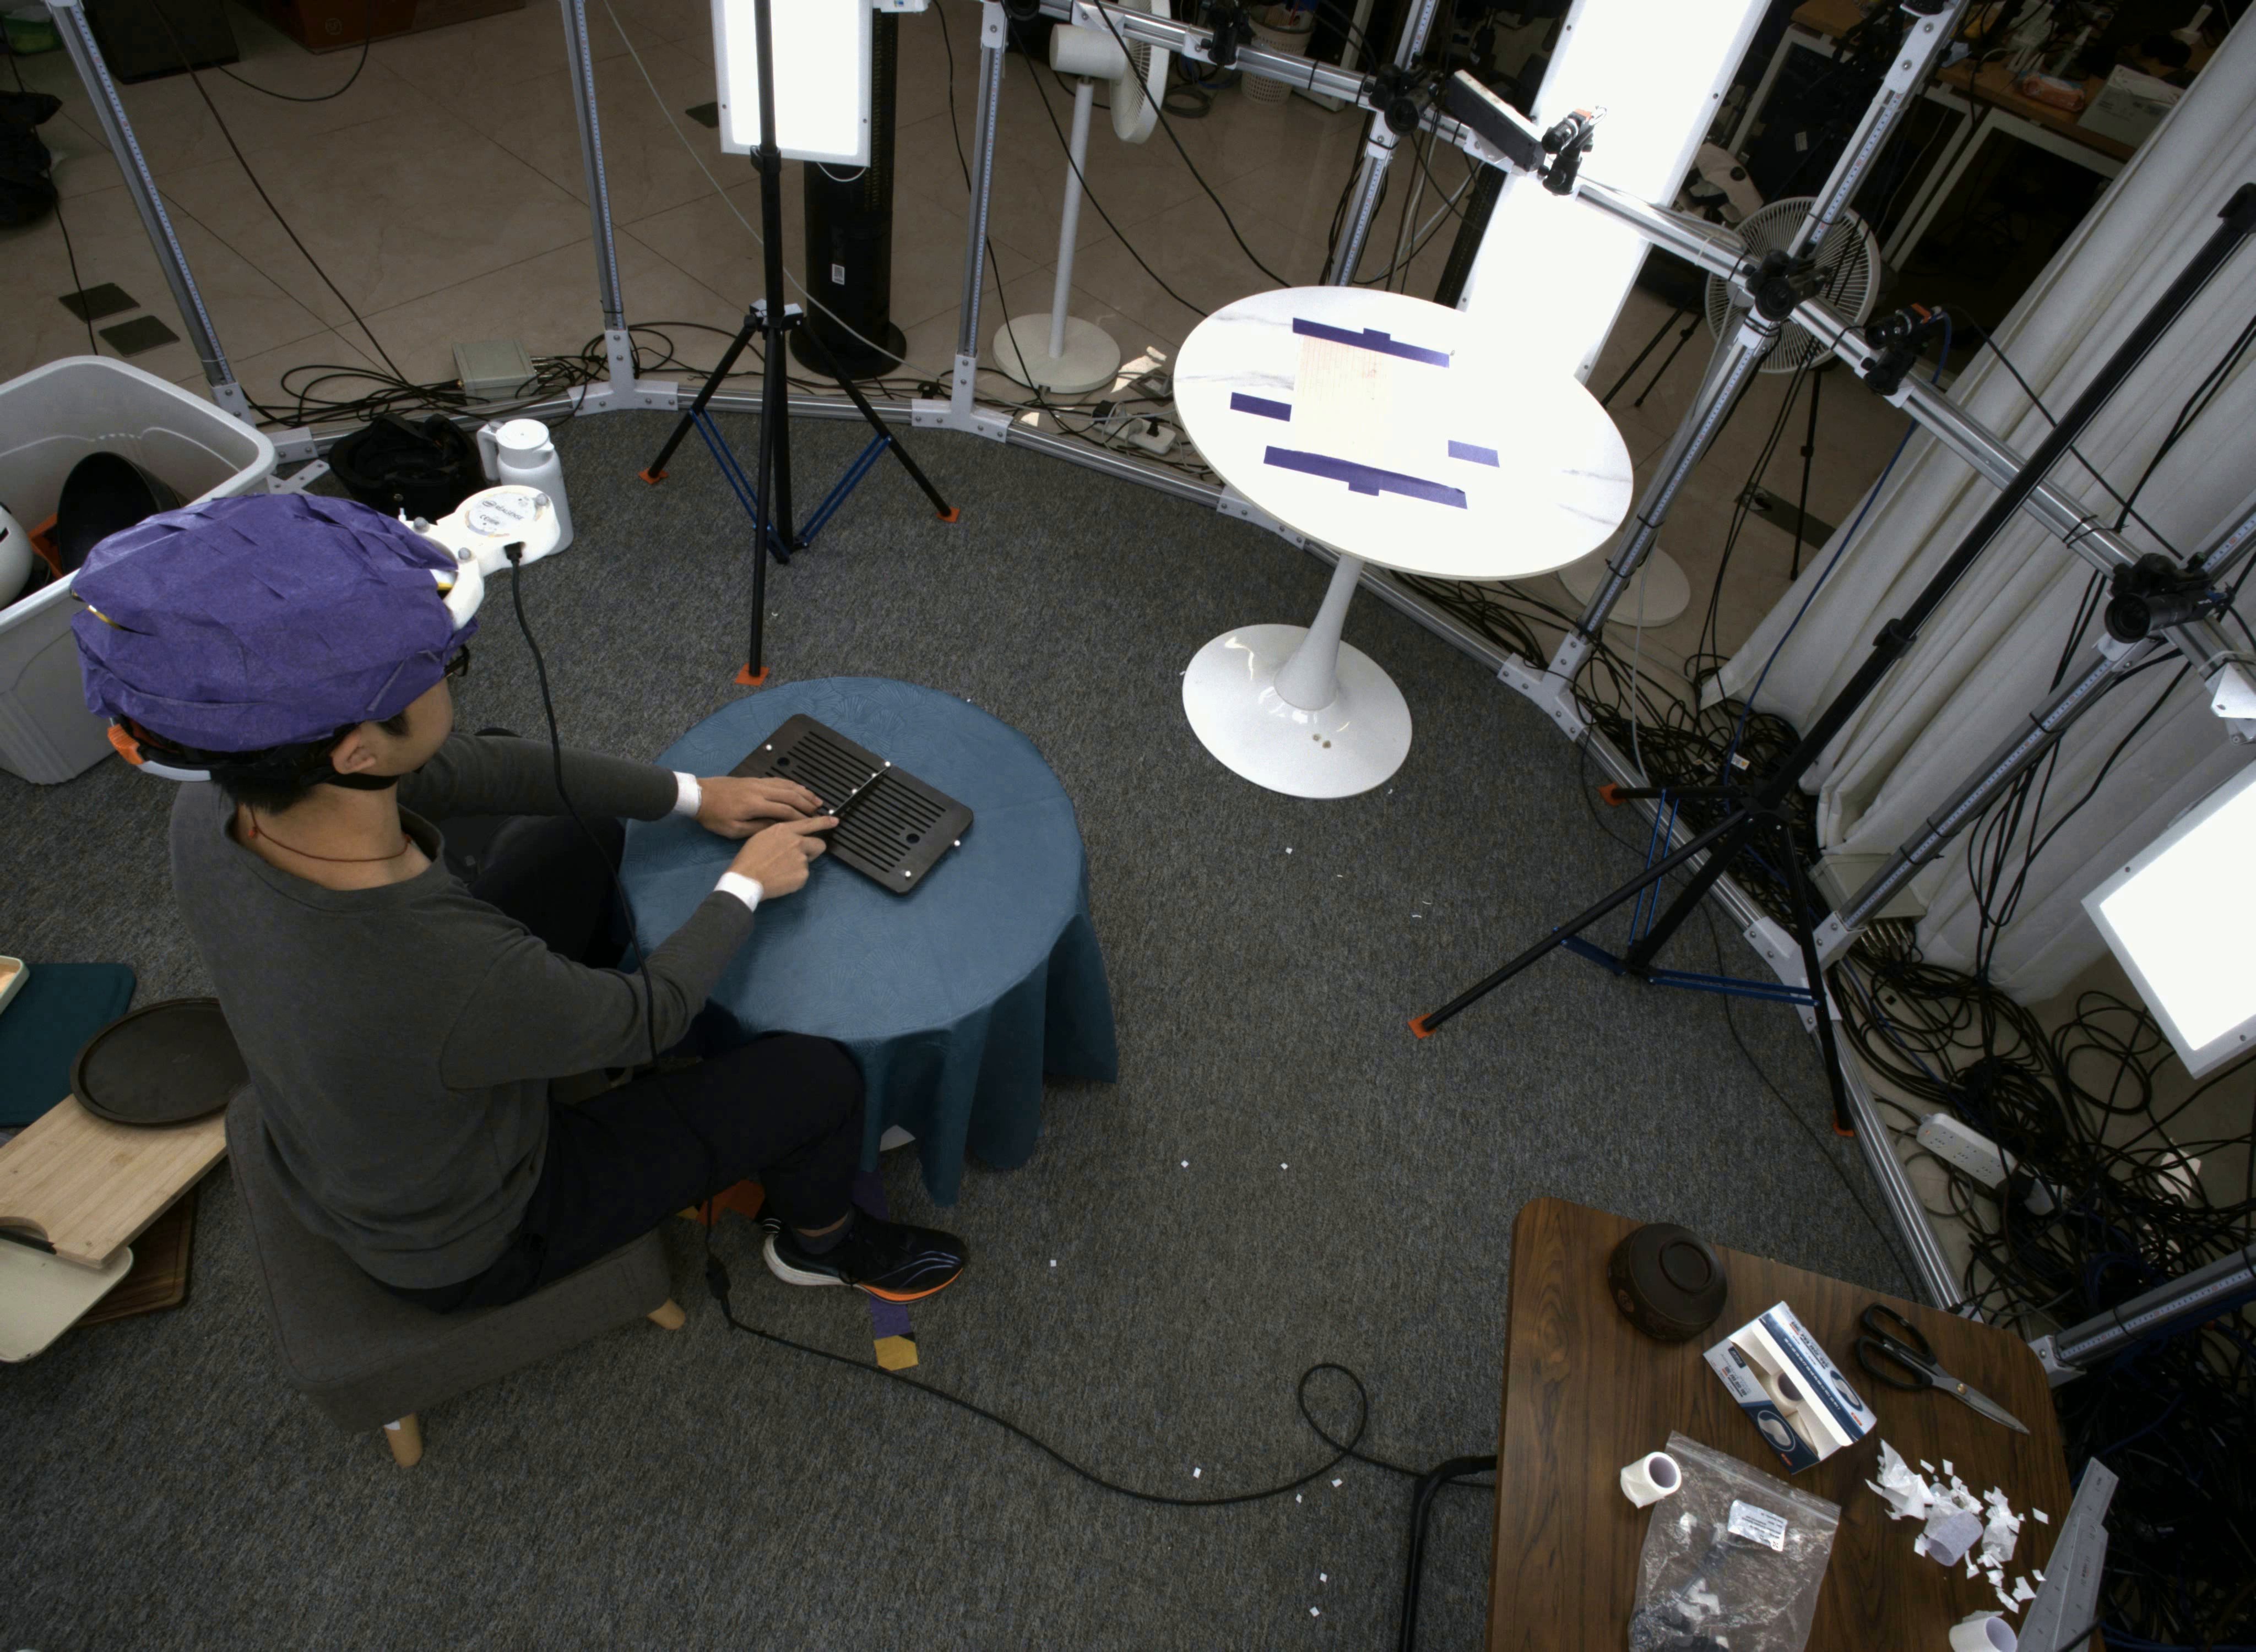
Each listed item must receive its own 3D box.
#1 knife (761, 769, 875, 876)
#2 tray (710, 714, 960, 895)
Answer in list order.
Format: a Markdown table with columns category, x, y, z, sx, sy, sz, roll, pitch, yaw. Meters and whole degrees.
| category | x | y | z | sx | sy | sz | roll | pitch | yaw |
| --- | --- | --- | --- | --- | --- | --- | --- | --- | --- |
| knife | -0.404 | -0.013 | 1.706 | 0.016 | 0.025 | 0.237 | 28 | 46 | 11 |
| tray | -0.395 | -0.032 | 1.755 | 0.301 | 0.019 | 0.169 | 29 | 53 | 8 |
